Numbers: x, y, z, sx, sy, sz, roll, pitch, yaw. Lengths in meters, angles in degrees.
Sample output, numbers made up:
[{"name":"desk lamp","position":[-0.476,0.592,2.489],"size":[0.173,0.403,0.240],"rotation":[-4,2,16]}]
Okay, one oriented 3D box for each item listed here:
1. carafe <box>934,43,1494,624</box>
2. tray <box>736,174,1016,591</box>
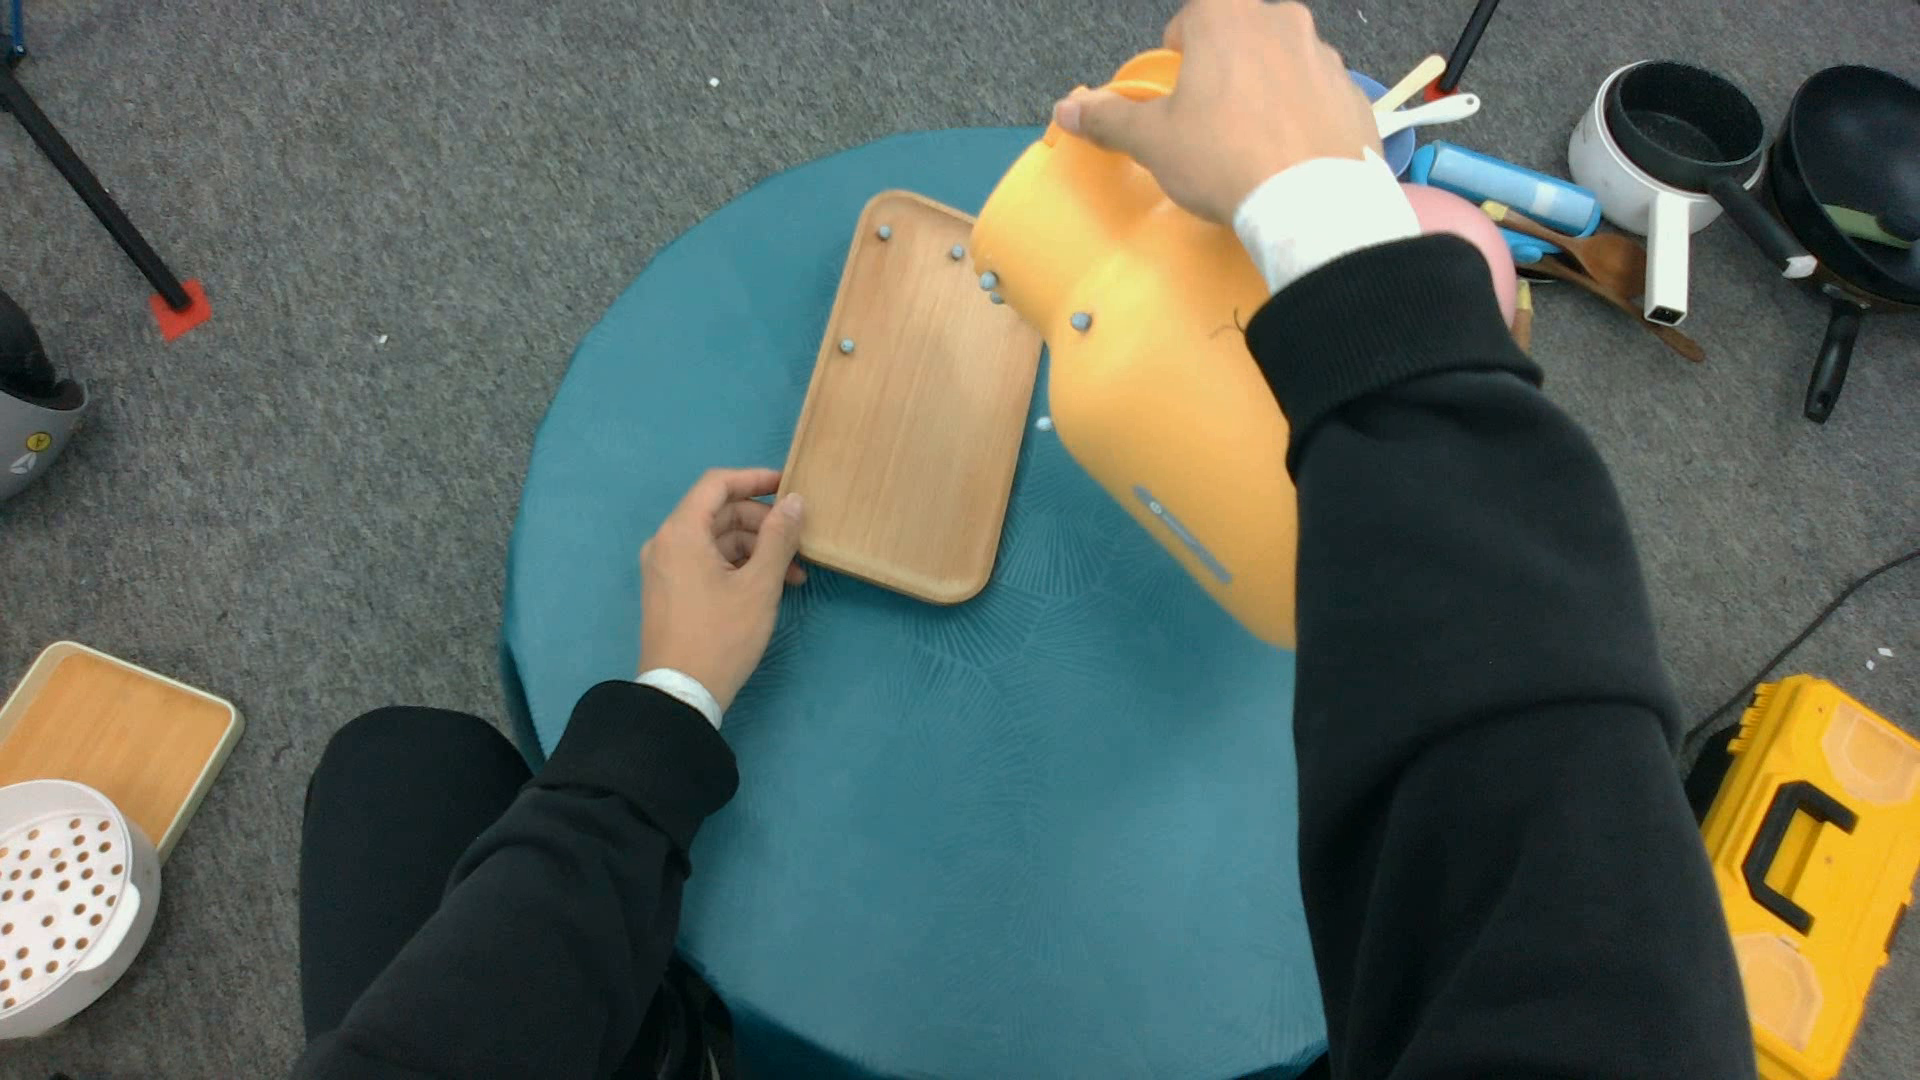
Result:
[{"name":"carafe","position":[0.111,-0.099,0.628],"size":[0.260,0.201,0.164],"rotation":[41,66,3]},{"name":"tray","position":[-0.042,-0.095,0.795],"size":[0.130,0.023,0.251],"rotation":[19,65,-12]}]
